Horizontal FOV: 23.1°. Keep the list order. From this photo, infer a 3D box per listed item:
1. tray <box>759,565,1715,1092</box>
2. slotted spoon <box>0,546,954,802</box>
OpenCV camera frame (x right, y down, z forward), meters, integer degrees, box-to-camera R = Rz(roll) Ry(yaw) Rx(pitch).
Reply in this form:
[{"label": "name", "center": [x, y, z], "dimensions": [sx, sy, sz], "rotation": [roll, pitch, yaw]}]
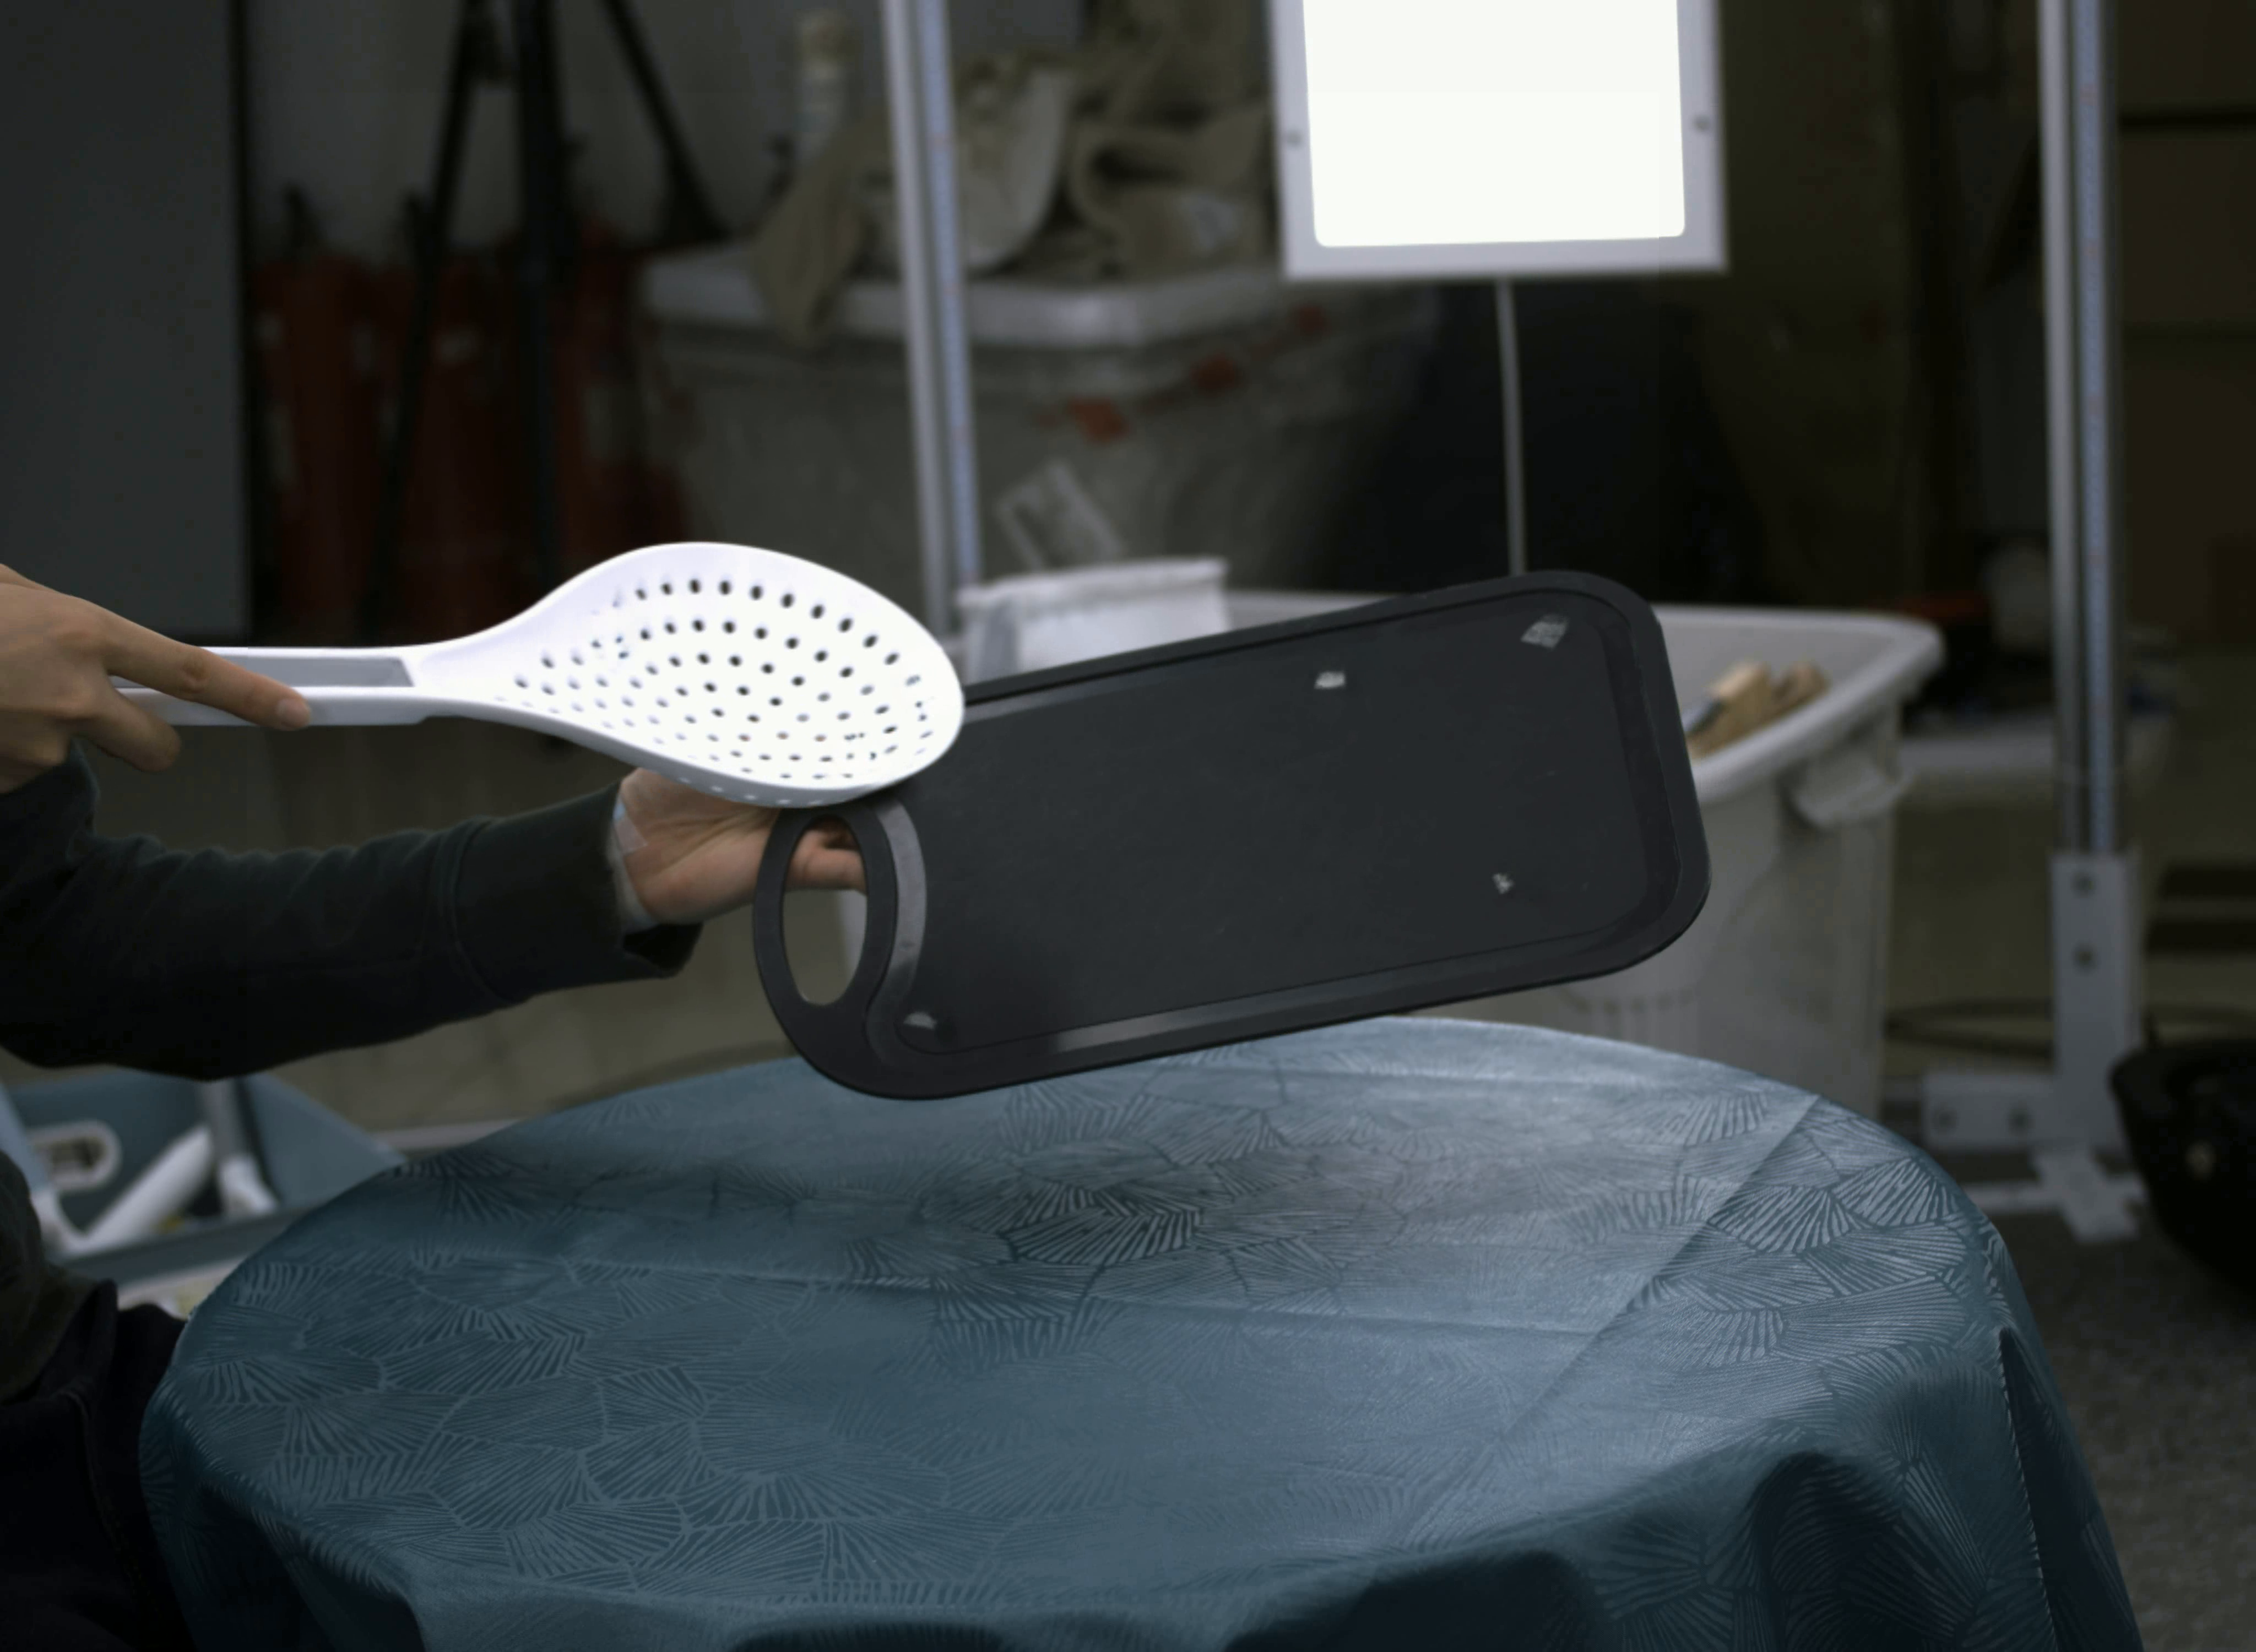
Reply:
[{"label": "tray", "center": [0.032, -0.001, 1.866], "dimensions": [0.326, 0.010, 0.210], "rotation": [-11, 41, 7]}, {"label": "slotted spoon", "center": [-0.220, -0.047, 1.775], "dimensions": [0.342, 0.046, 0.137], "rotation": [3, 35, -29]}]
